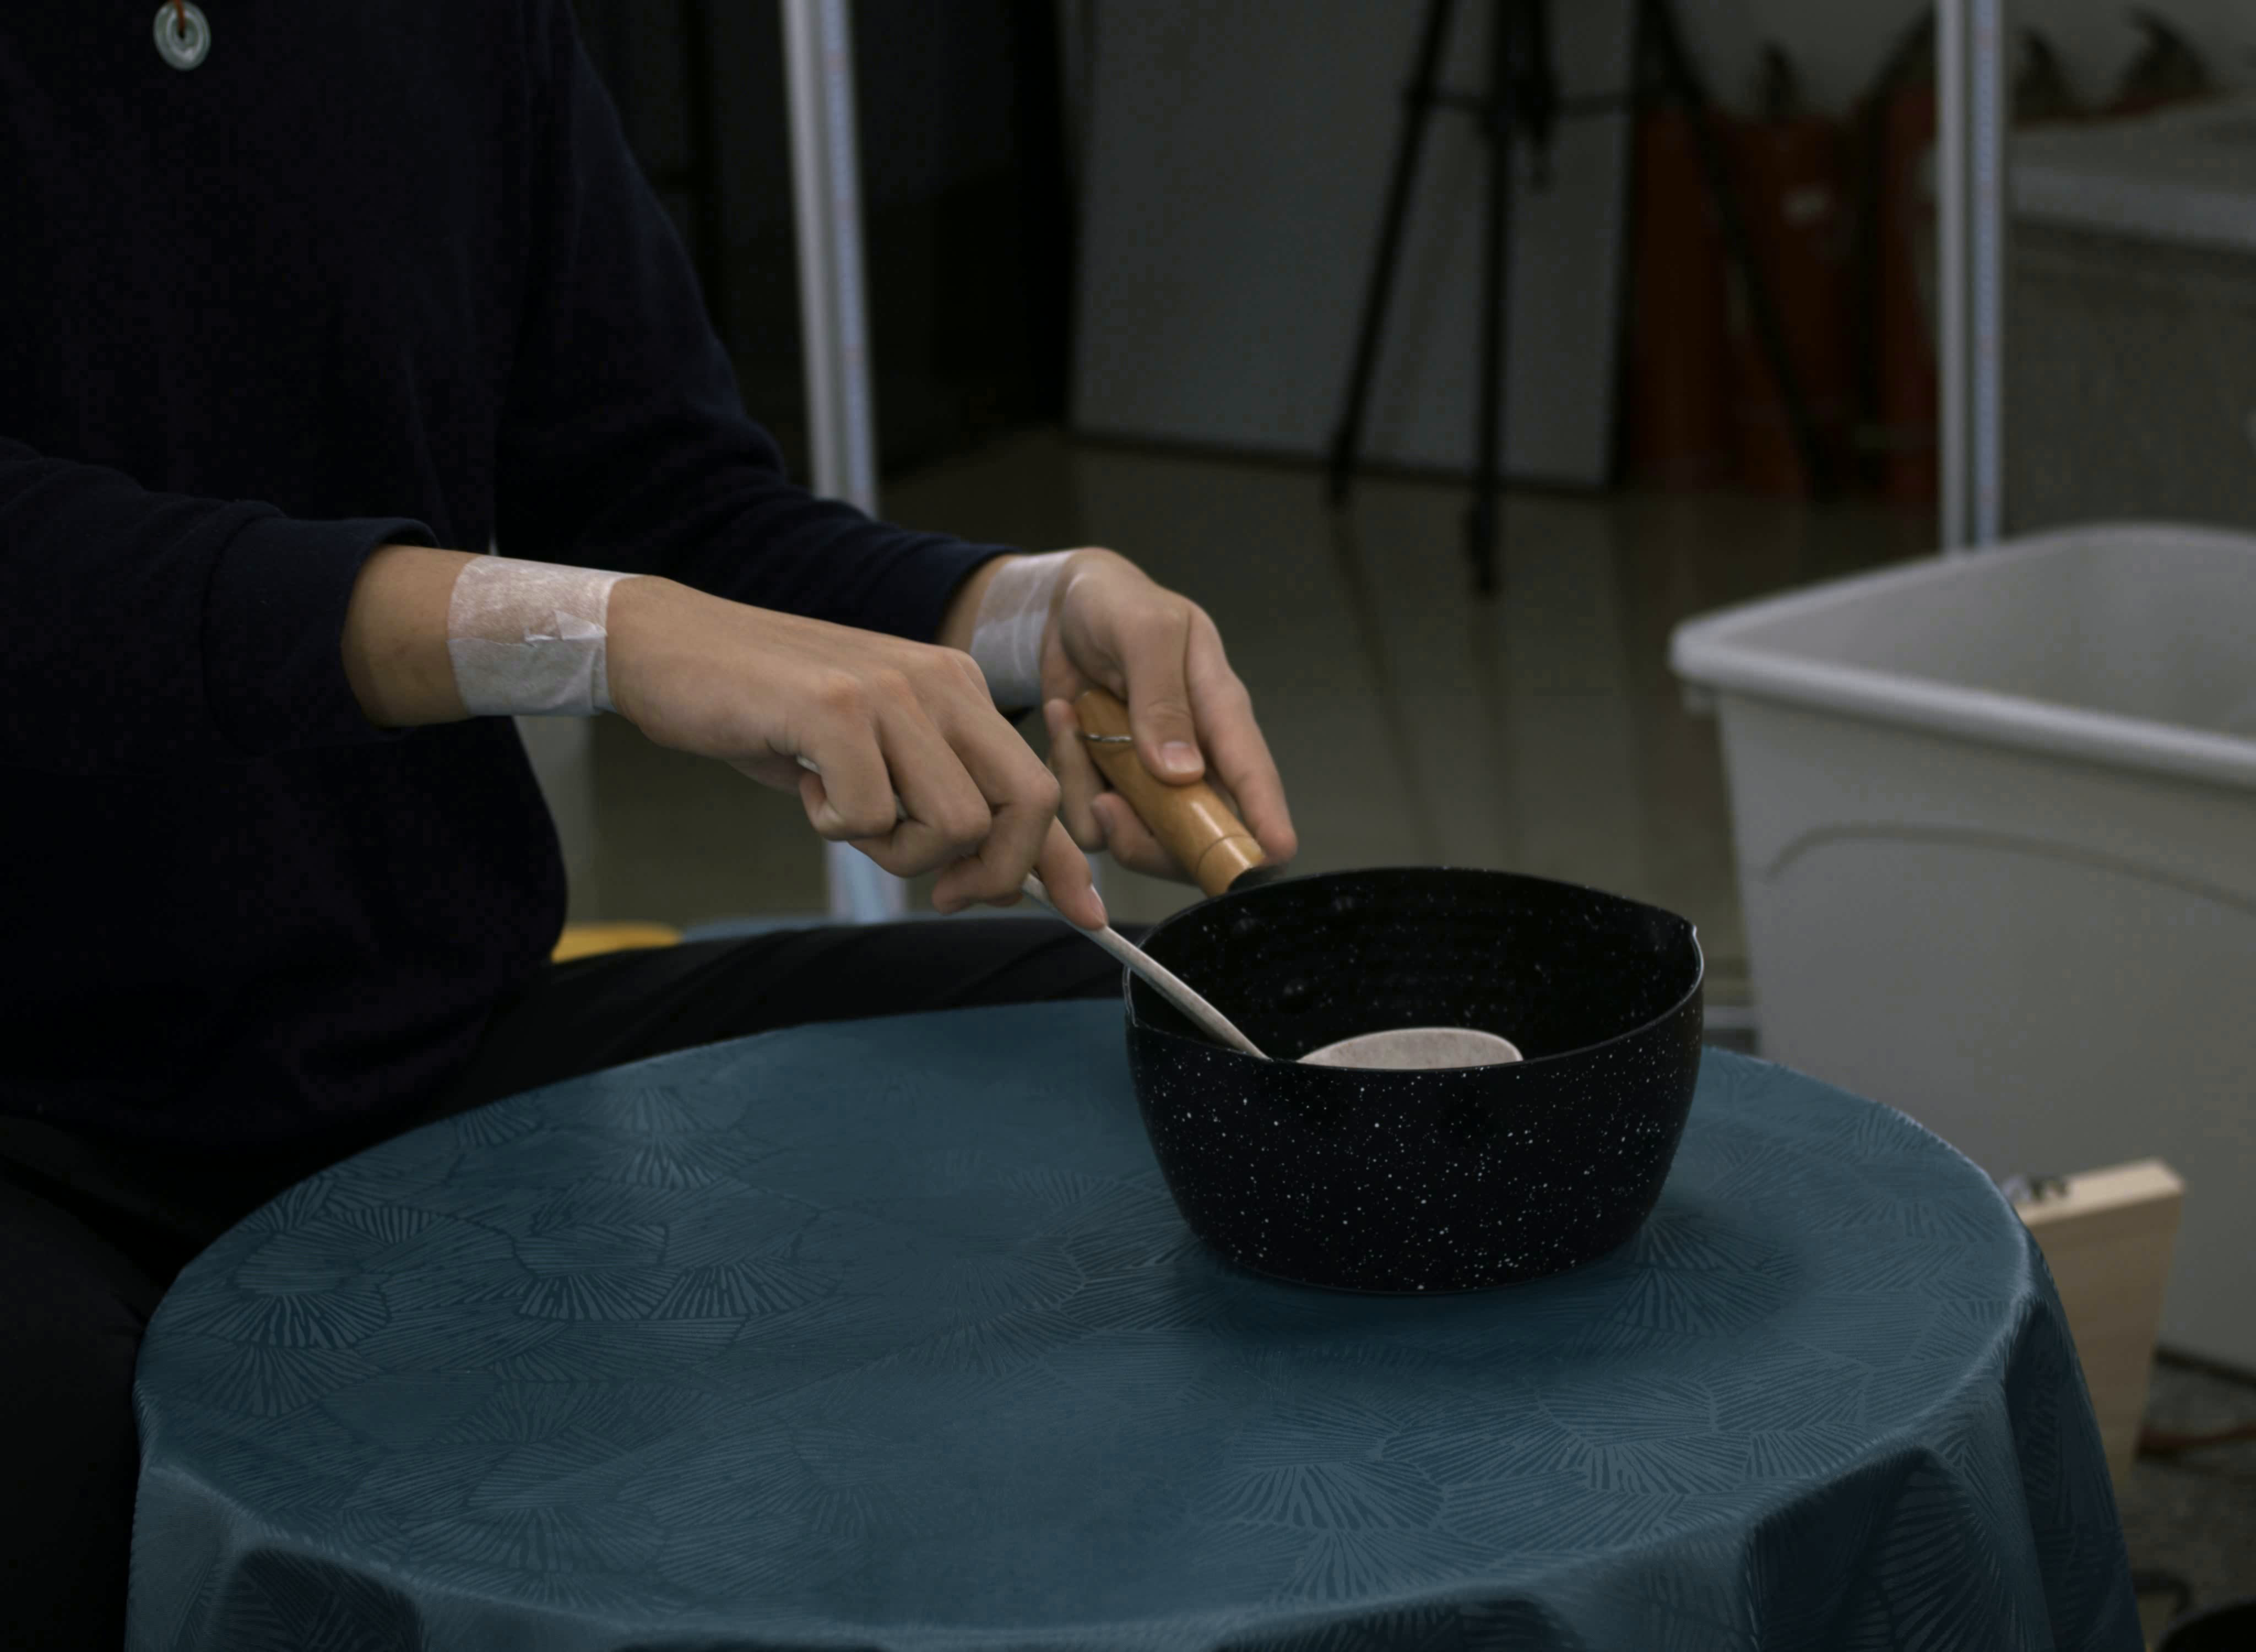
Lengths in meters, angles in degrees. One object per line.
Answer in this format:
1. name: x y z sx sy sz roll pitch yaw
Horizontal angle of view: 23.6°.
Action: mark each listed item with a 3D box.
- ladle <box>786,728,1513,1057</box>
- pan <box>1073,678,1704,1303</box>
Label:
1. ladle: 0.011 0.022 1.629 0.271 0.069 0.090 39 -5 -30
2. pan: 0.057 0.049 1.772 0.203 0.109 0.346 -11 21 -22
